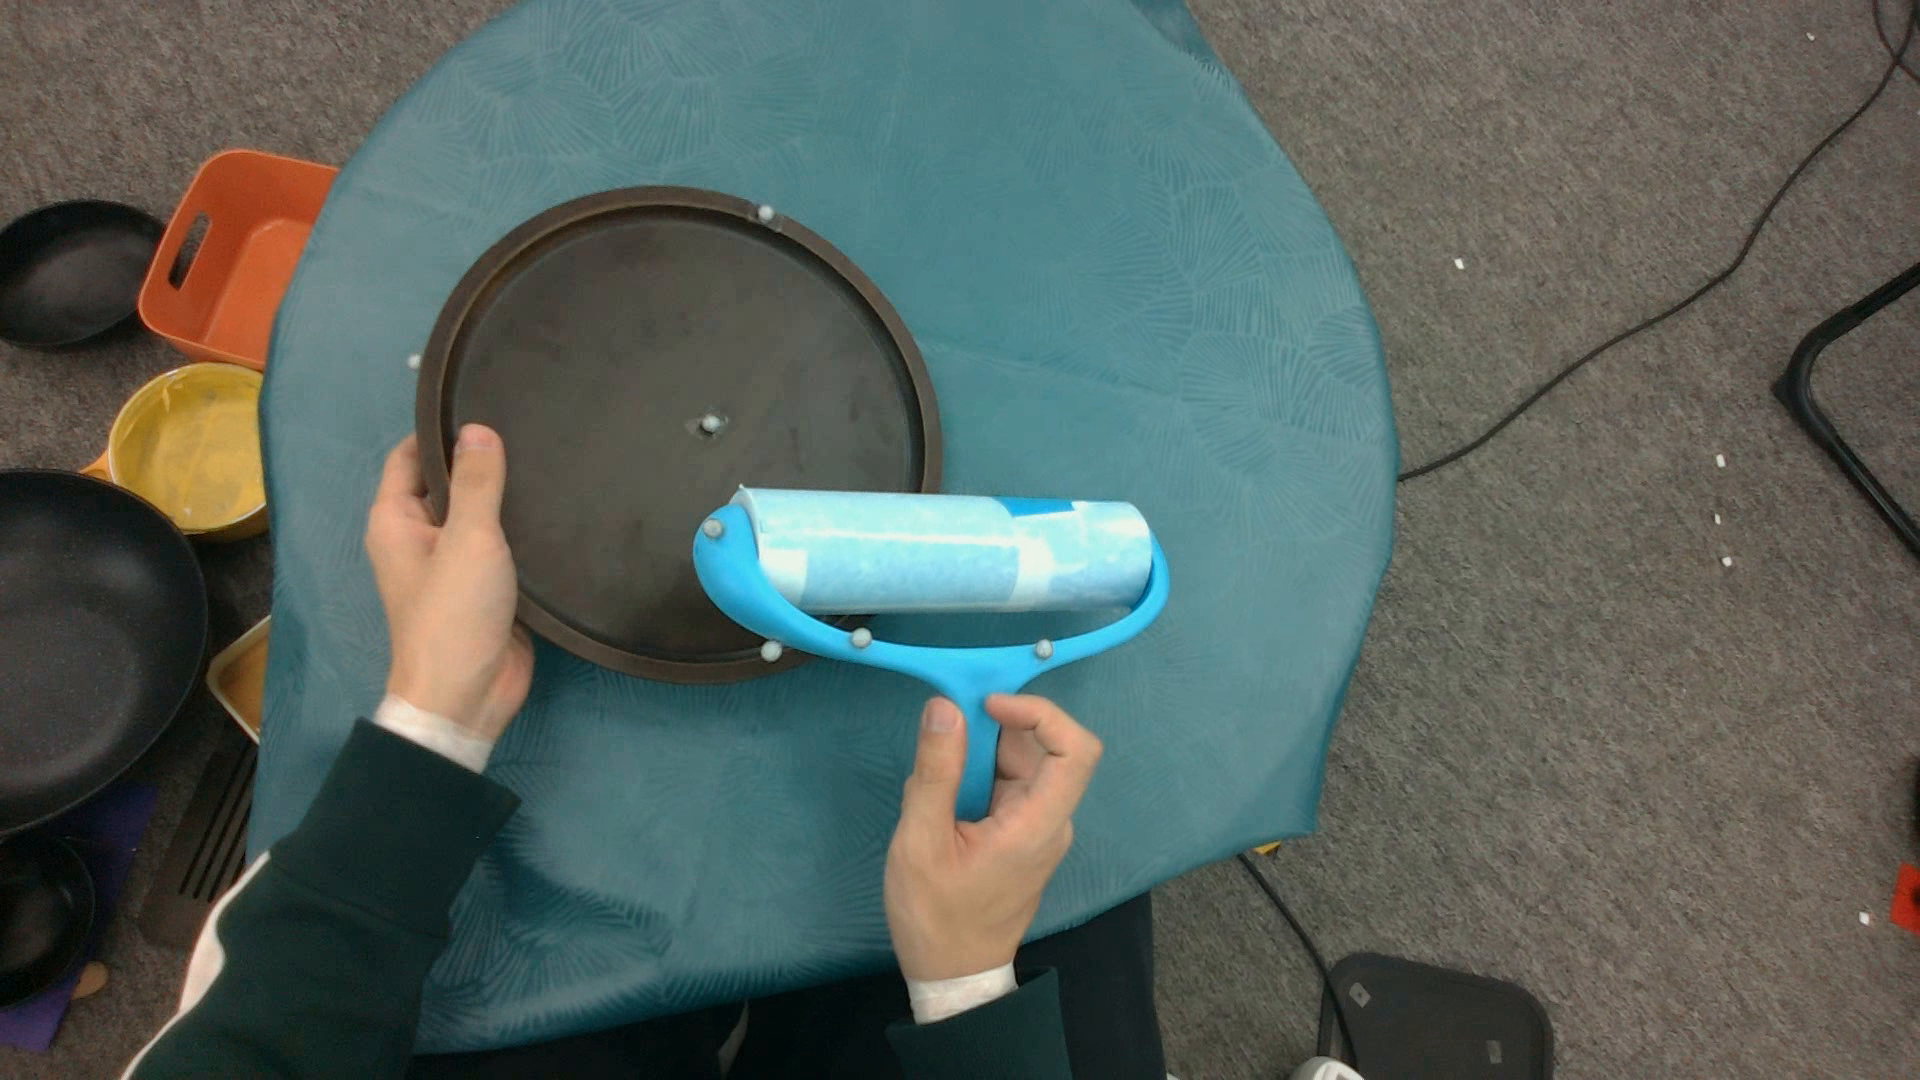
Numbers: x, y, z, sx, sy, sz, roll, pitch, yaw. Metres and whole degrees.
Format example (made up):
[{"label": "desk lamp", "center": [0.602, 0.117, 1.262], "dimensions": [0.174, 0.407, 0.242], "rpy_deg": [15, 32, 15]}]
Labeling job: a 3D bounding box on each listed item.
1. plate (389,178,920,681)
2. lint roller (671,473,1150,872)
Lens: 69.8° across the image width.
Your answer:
[{"label": "plate", "center": [-0.140, -0.056, 0.670], "dimensions": [0.255, 0.029, 0.255], "rpy_deg": [7, 72, -22]}, {"label": "lint roller", "center": [-0.009, 0.057, 0.611], "dimensions": [0.229, 0.067, 0.180], "rpy_deg": [-4, 84, -31]}]
